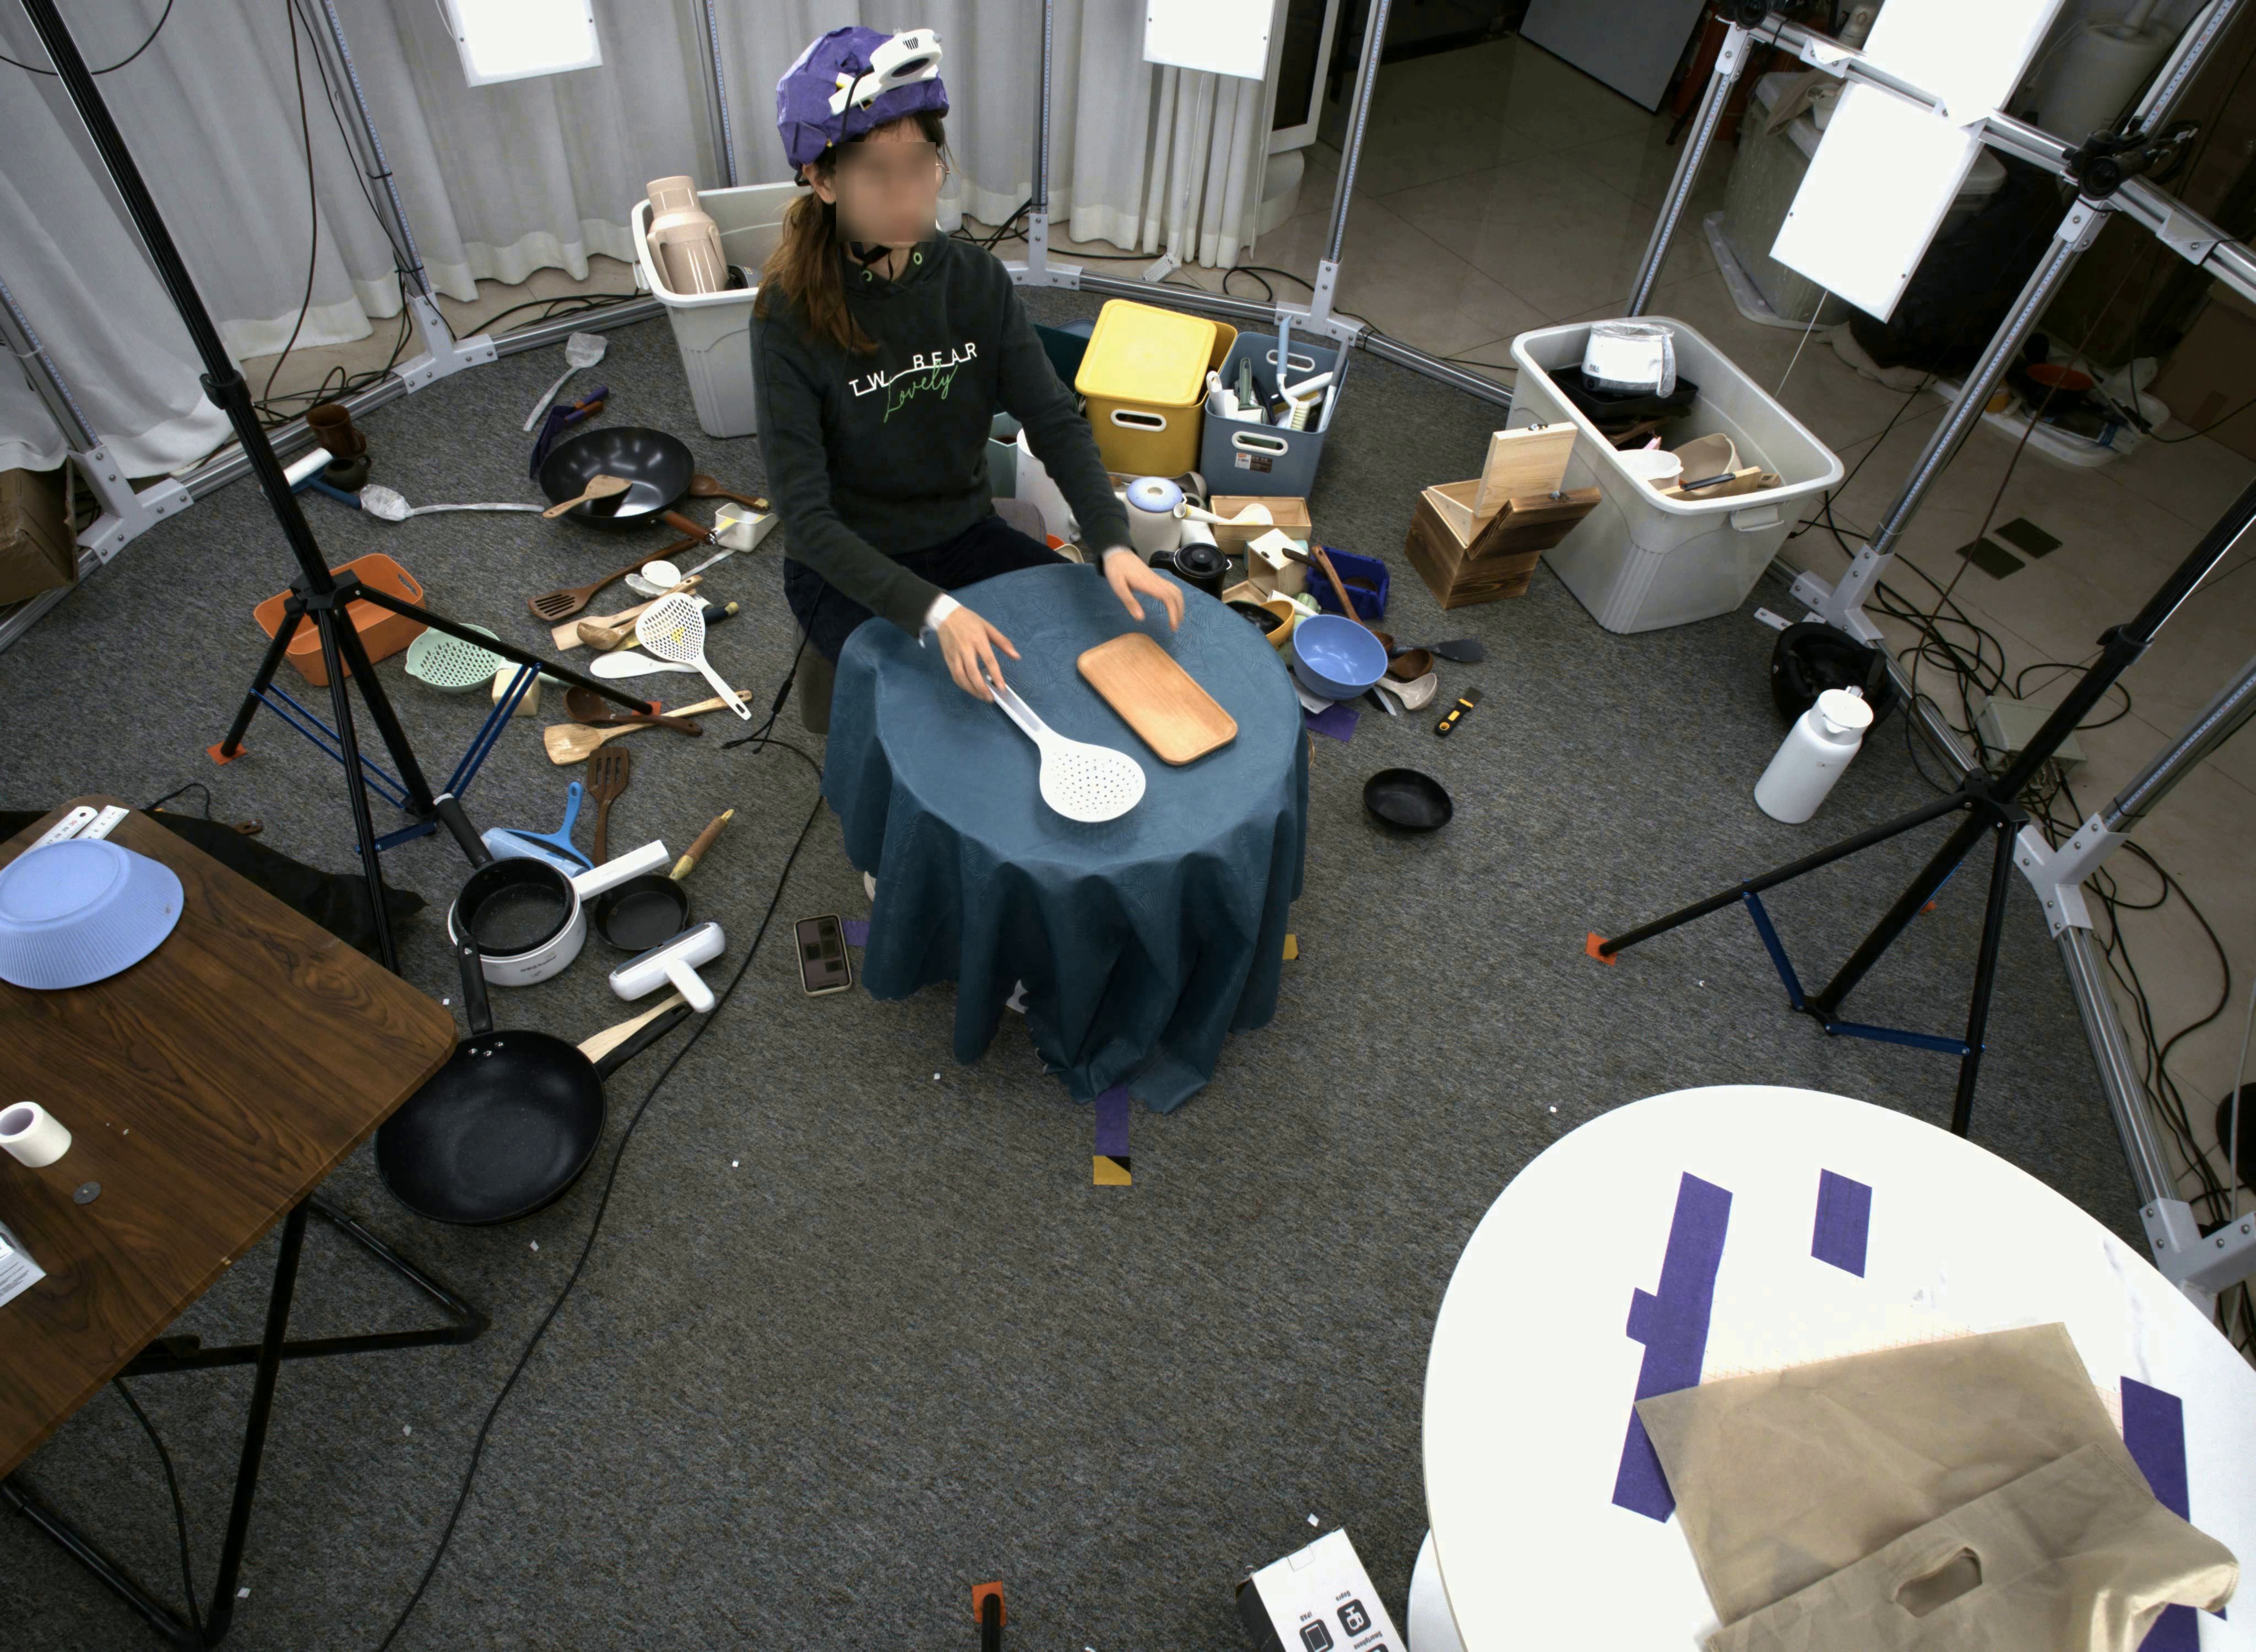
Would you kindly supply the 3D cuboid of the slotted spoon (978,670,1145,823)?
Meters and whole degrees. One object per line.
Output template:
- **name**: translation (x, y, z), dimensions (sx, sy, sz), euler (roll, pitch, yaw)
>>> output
- **slotted spoon**: translation (-0.107, -0.114, 1.746), dimensions (0.136, 0.044, 0.357), euler (-25, 54, -23)

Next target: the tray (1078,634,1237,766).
- **tray**: translation (0.040, -0.183, 1.835), dimensions (0.131, 0.022, 0.255), euler (-25, 54, -25)
